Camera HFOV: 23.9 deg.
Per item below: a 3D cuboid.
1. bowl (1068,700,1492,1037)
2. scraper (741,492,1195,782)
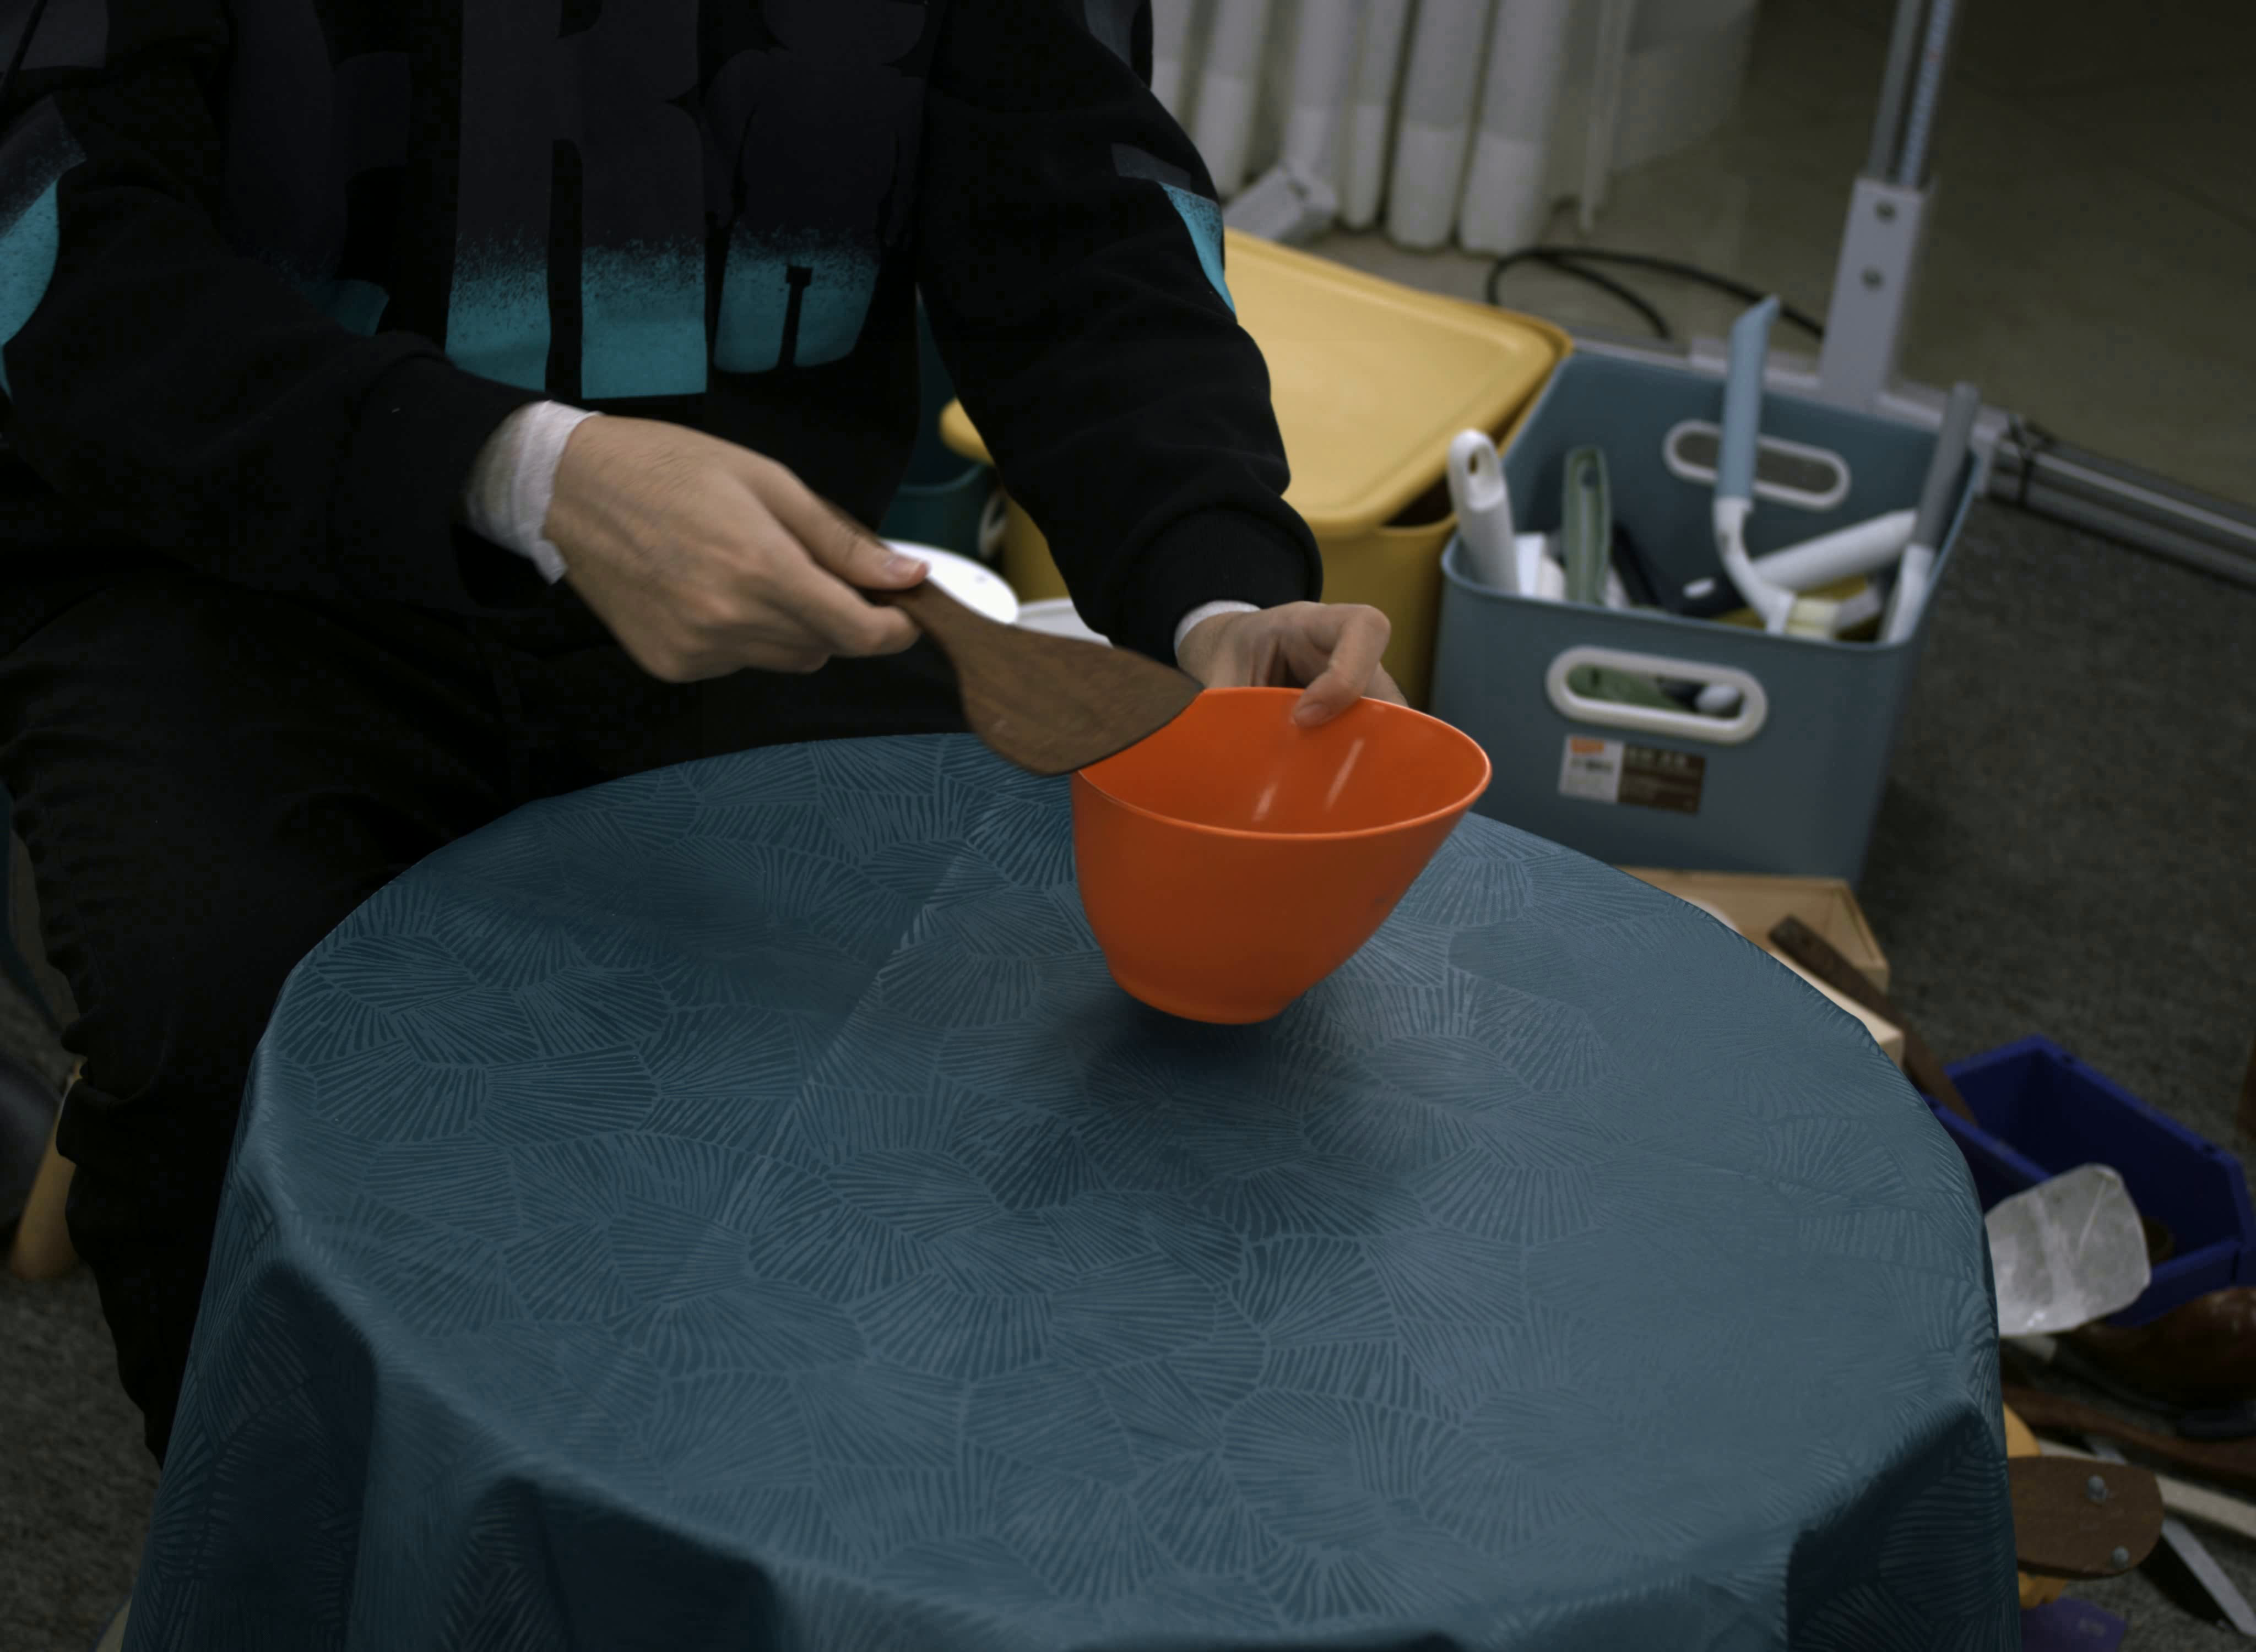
[{"bbox_3d":[0.046,0.017,1.877,0.147,0.104,0.149,8,23,-4],"label":"bowl"},{"bbox_3d":[-0.066,-0.070,1.868,0.075,0.011,0.213,-27,43,-29],"label":"scraper"}]
